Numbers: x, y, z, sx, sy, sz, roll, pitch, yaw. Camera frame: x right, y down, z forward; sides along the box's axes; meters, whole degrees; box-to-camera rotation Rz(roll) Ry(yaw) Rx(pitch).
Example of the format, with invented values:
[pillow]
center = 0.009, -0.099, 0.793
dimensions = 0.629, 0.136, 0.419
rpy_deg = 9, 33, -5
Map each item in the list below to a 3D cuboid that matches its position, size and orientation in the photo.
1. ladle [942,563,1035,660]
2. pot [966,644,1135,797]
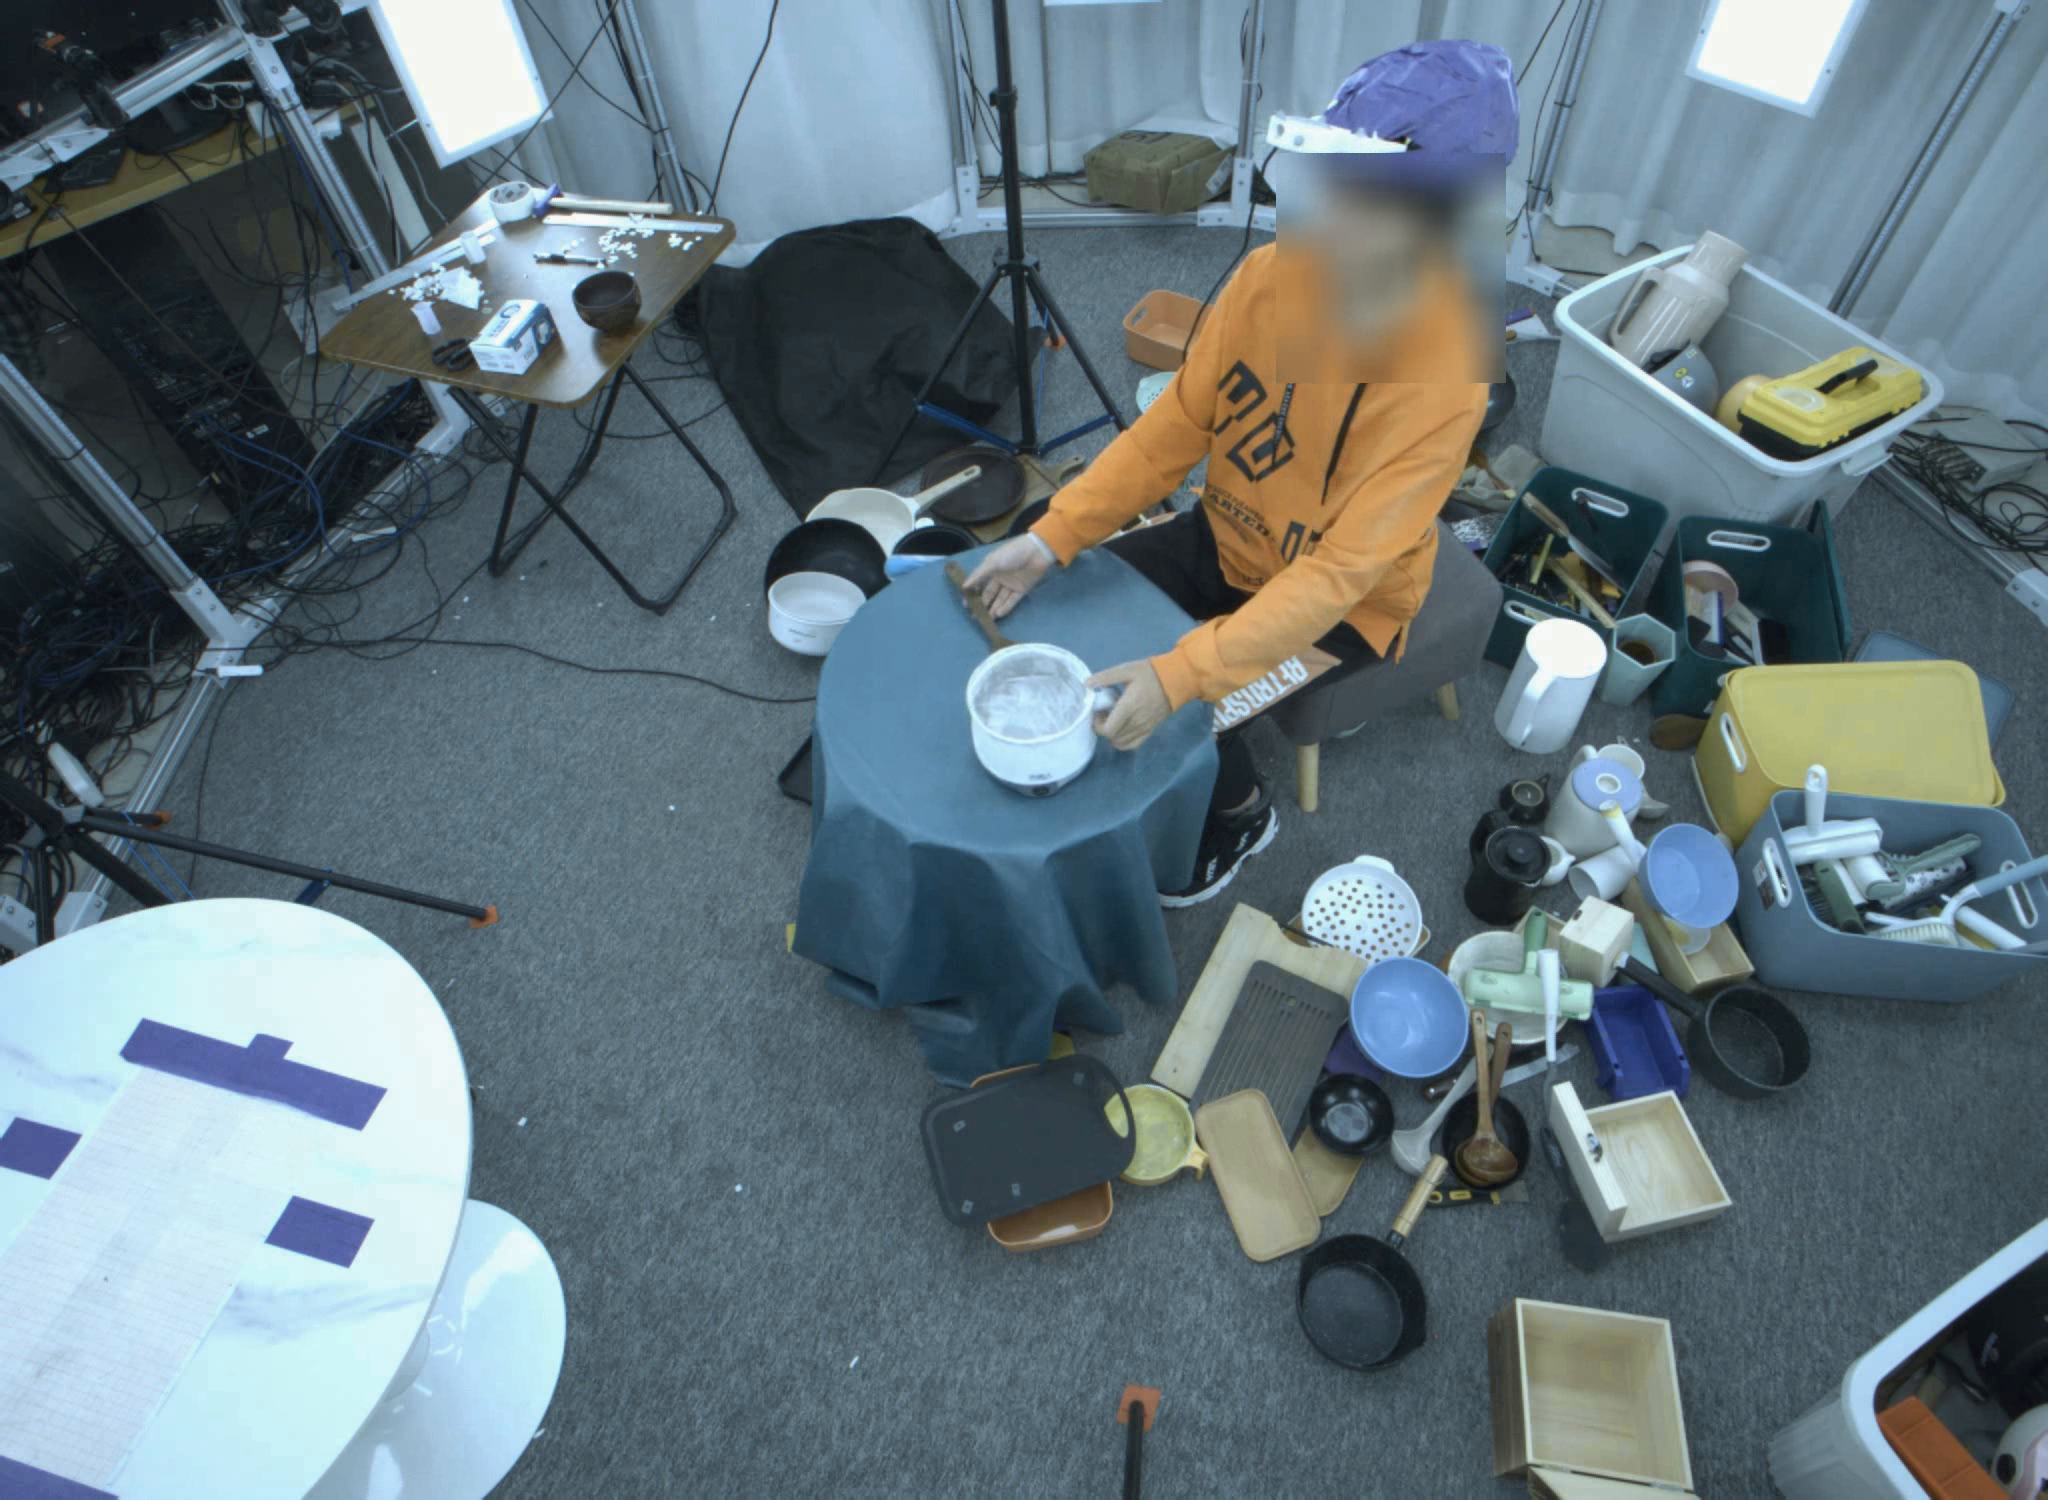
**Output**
[ladle]
center = -0.066, -0.218, 1.898
dimensions = 0.076, 0.072, 0.269
rpy_deg = -24, 60, -12
[pot]
center = 0.040, -0.045, 1.733
dimensions = 0.234, 0.138, 0.176
rpy_deg = -8, 55, -2
